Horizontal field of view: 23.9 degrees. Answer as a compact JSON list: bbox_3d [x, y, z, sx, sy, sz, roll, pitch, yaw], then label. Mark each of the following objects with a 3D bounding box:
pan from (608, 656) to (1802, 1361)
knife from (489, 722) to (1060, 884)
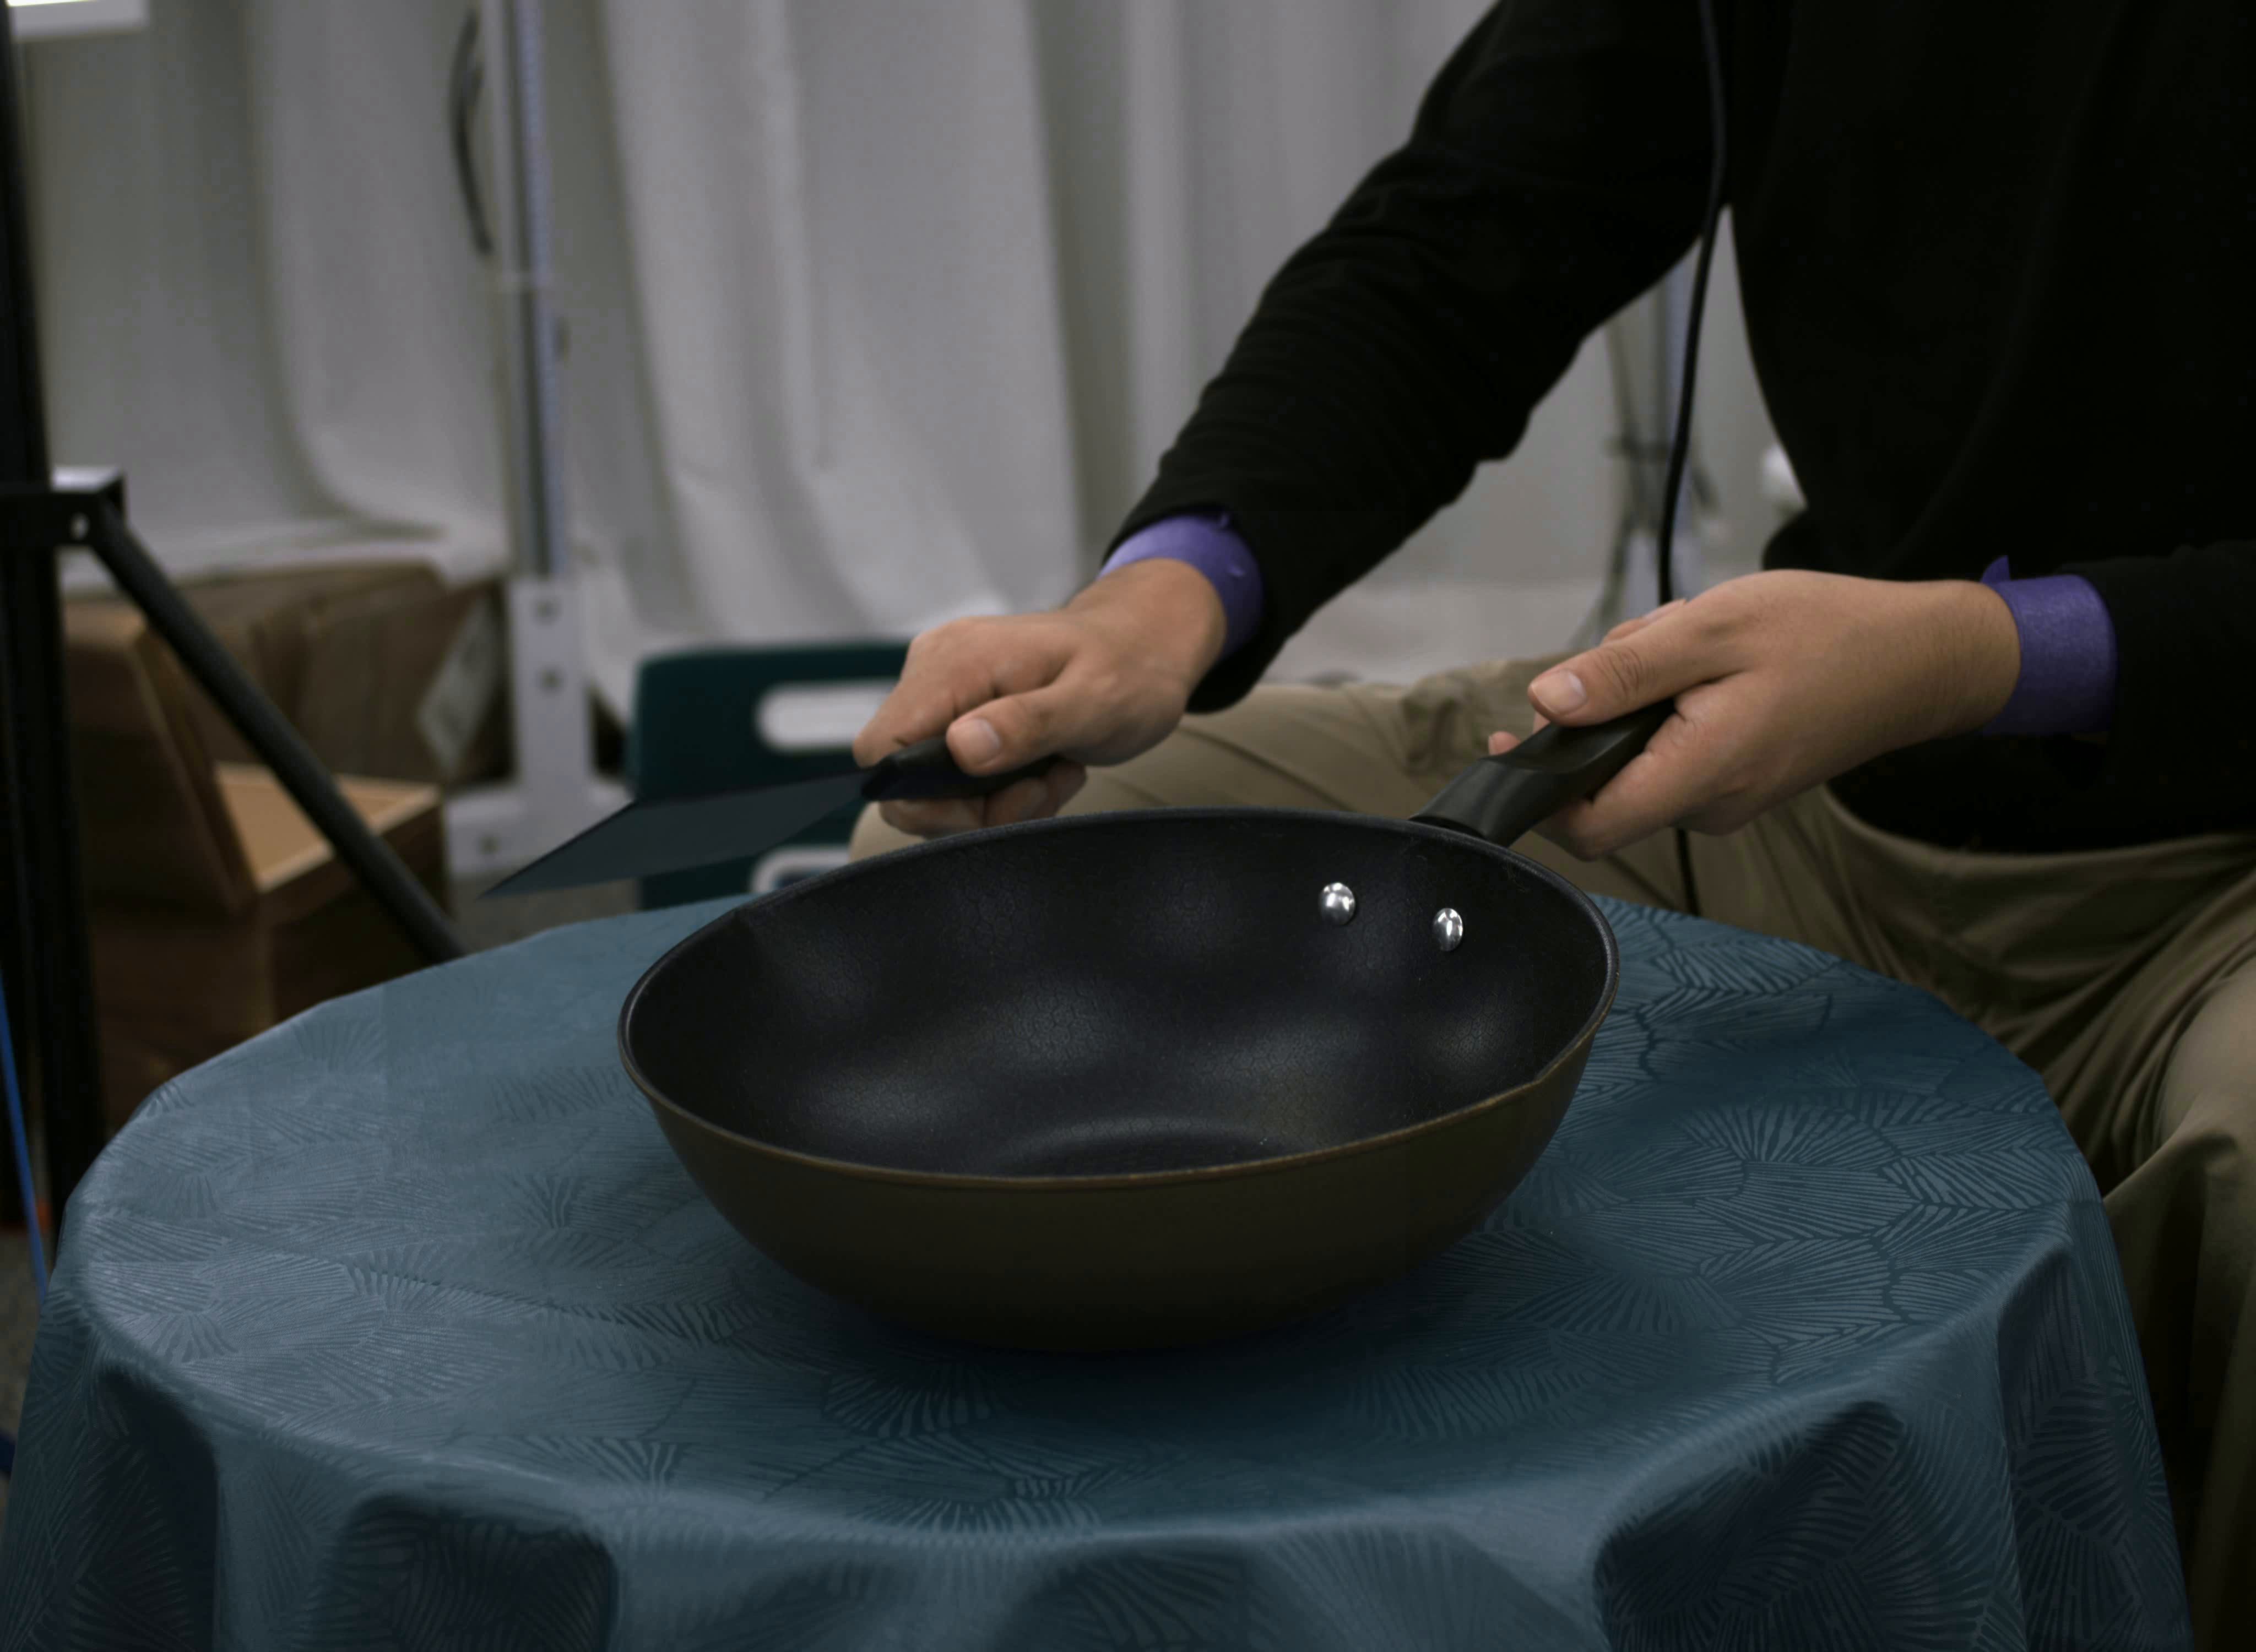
[{"bbox_3d":[0.056,0.051,1.548,0.294,0.086,0.454,11,26,39],"label":"pan"},{"bbox_3d":[-0.102,-0.007,1.680,0.082,0.021,0.296,-31,-9,28],"label":"knife"}]
